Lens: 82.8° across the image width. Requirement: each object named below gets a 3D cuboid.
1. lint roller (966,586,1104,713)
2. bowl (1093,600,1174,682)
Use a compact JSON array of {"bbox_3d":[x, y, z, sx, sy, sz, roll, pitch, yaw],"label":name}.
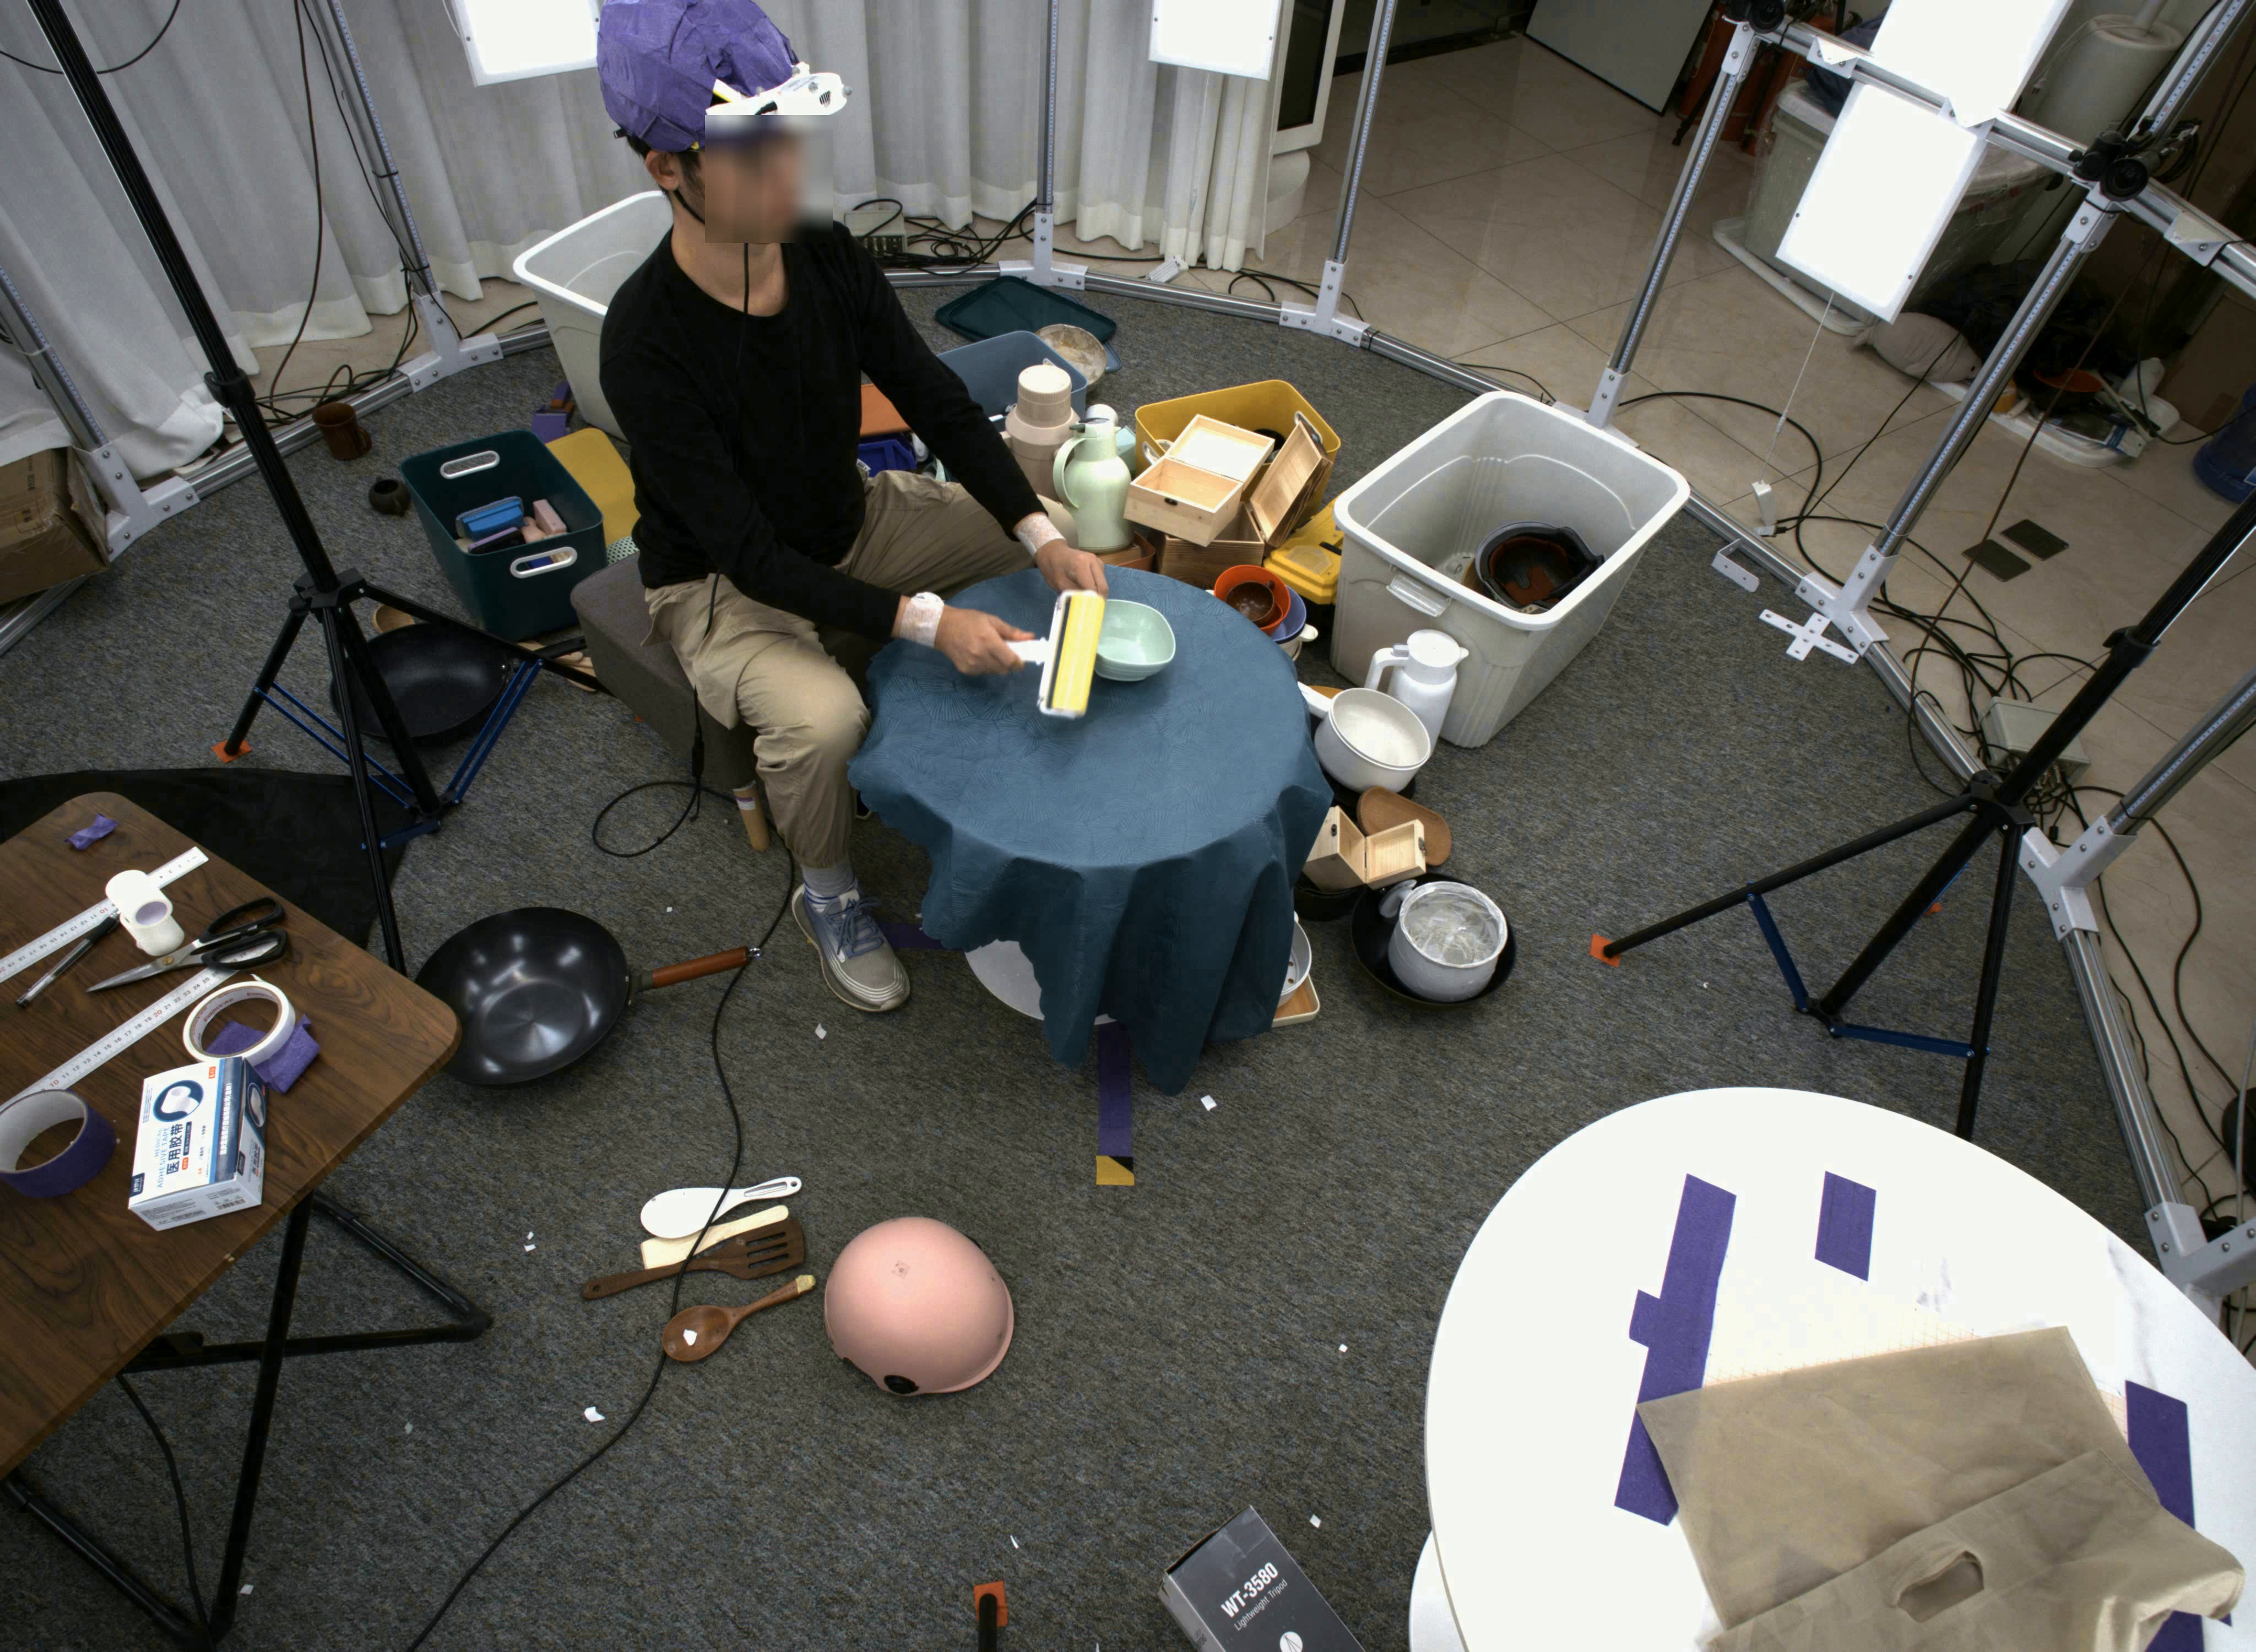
[{"bbox_3d":[-0.135,-0.247,1.765,0.192,0.051,0.176,4,80,10],"label":"lint roller"},{"bbox_3d":[-0.009,-0.258,1.847,0.151,0.057,0.155,11,46,-11],"label":"bowl"}]
